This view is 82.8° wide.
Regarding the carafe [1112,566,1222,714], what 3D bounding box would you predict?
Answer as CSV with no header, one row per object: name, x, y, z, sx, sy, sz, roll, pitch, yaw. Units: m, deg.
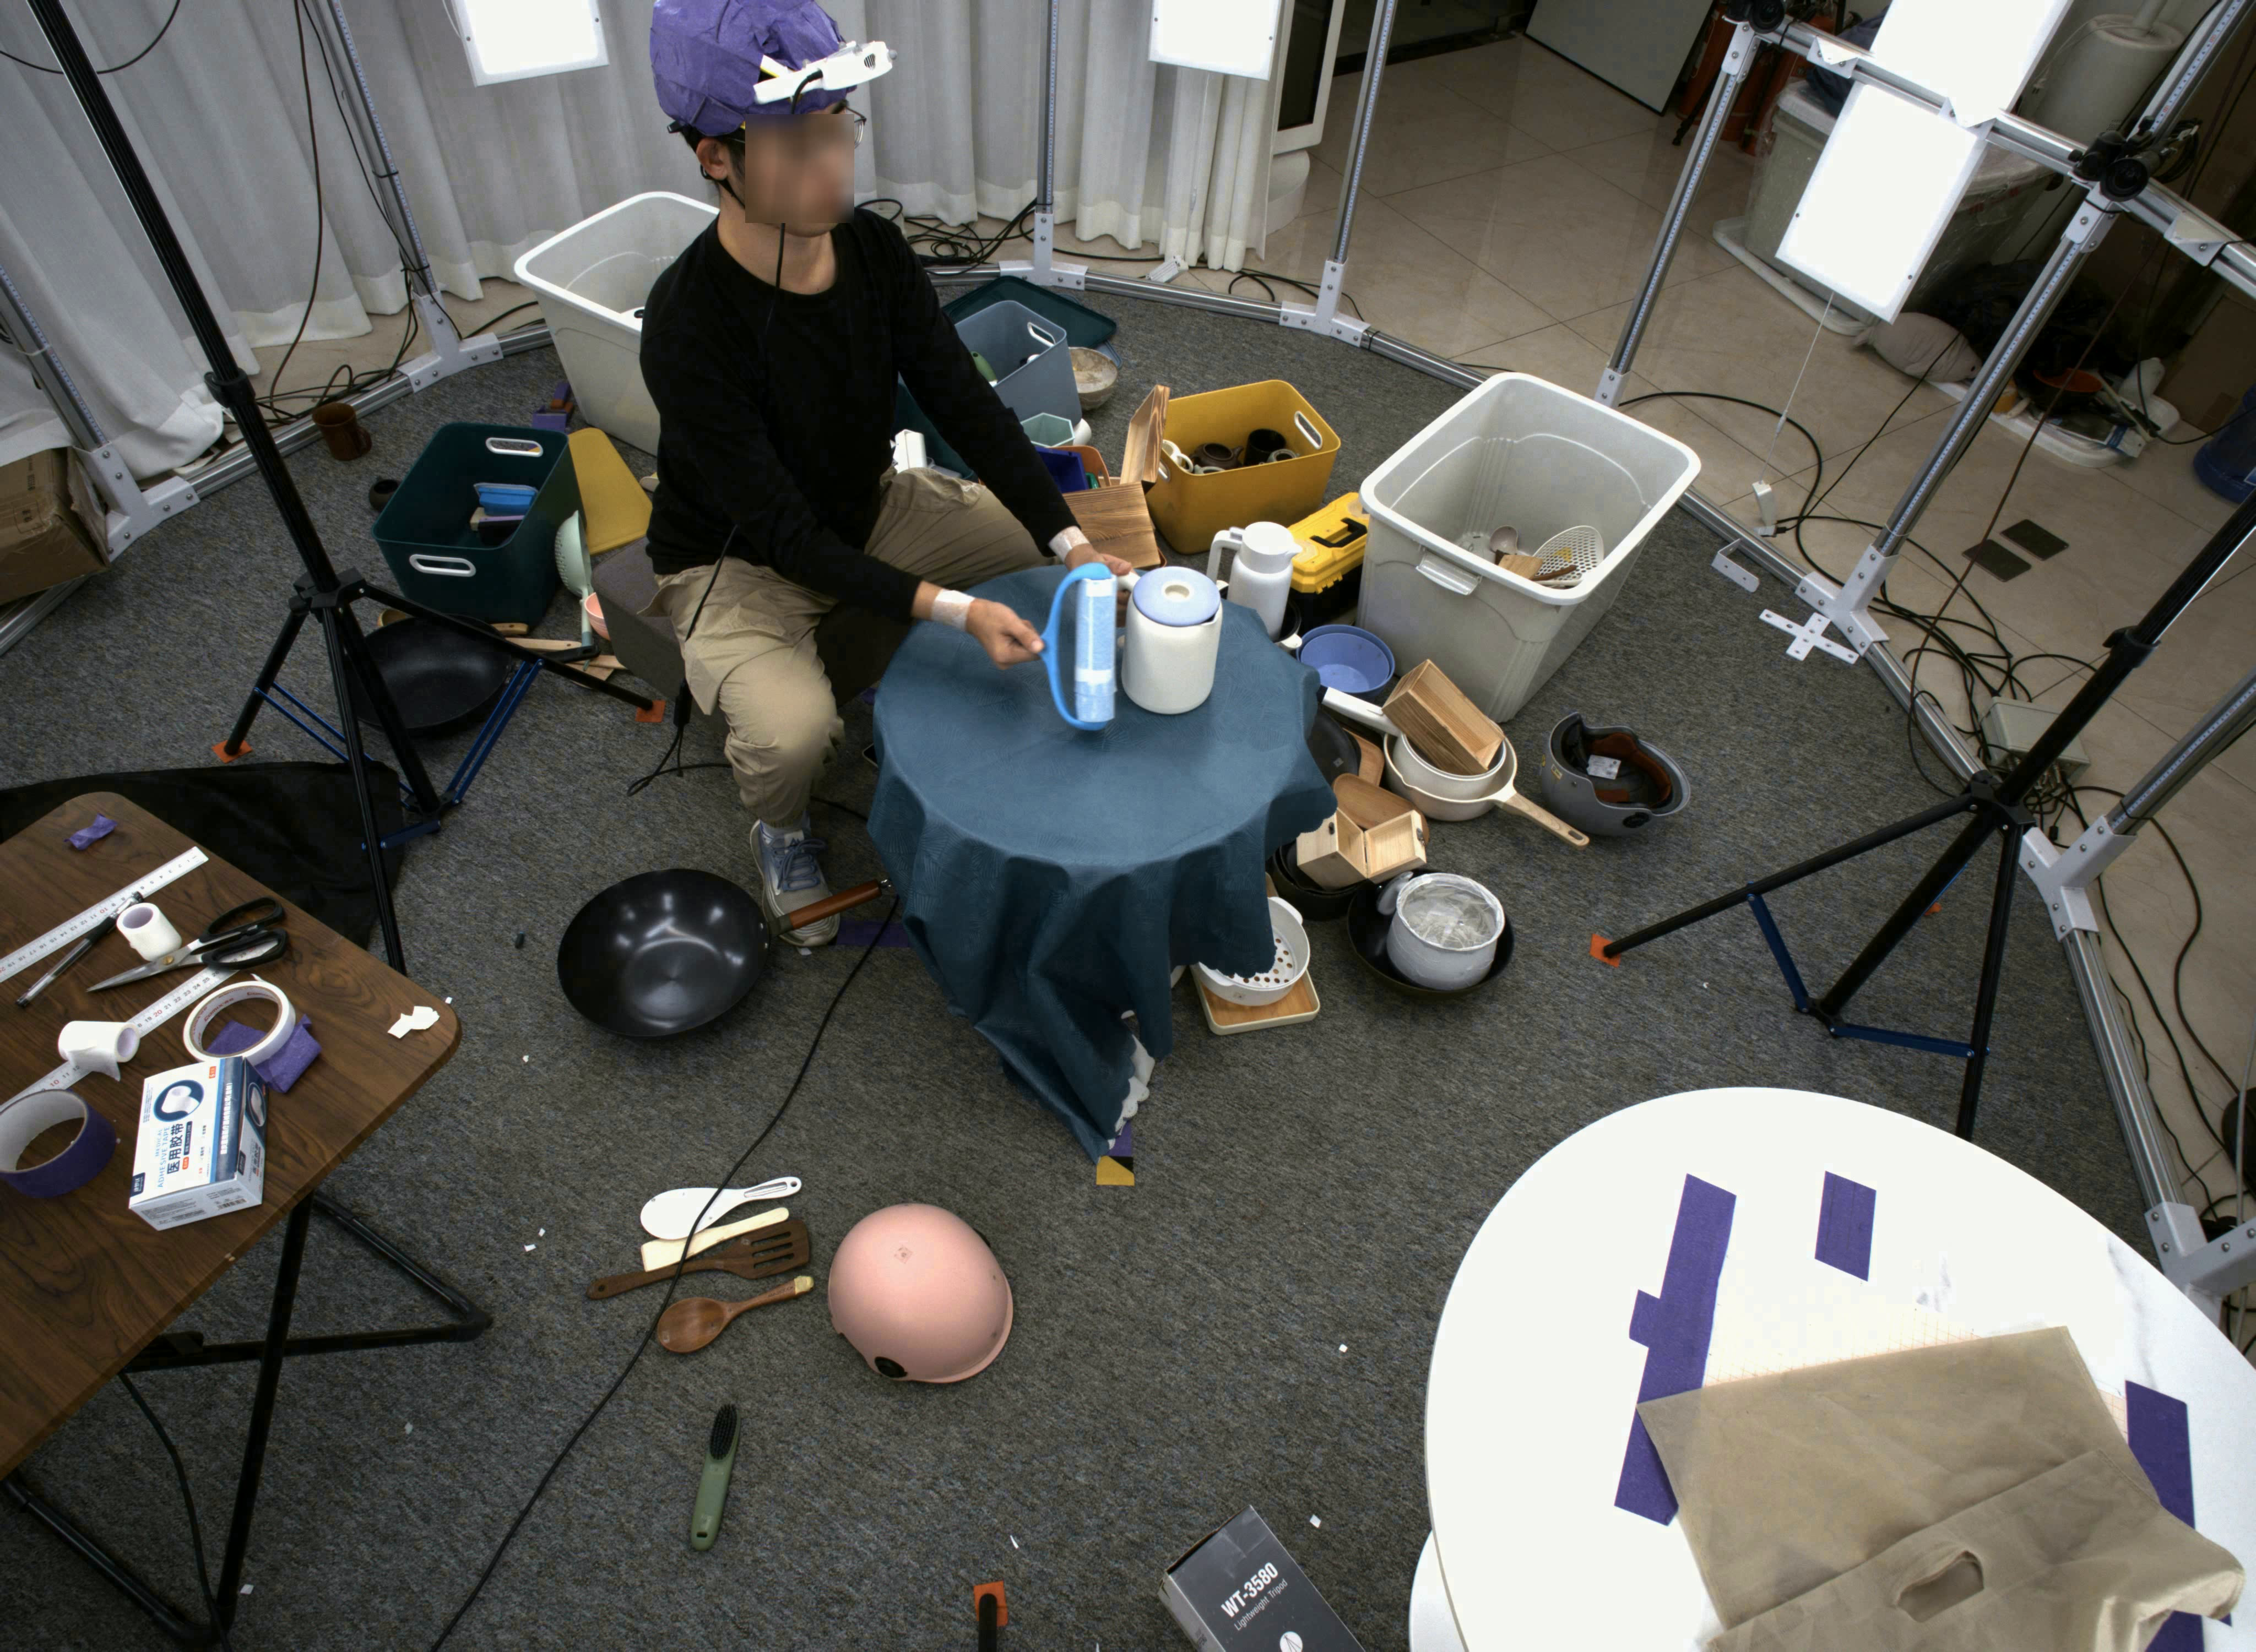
carafe,0.042,-0.271,1.797,0.194,0.178,0.133,34,55,26

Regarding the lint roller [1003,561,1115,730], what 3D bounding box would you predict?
lint roller,-0.102,-0.247,1.741,0.181,0.225,0.068,8,21,23
